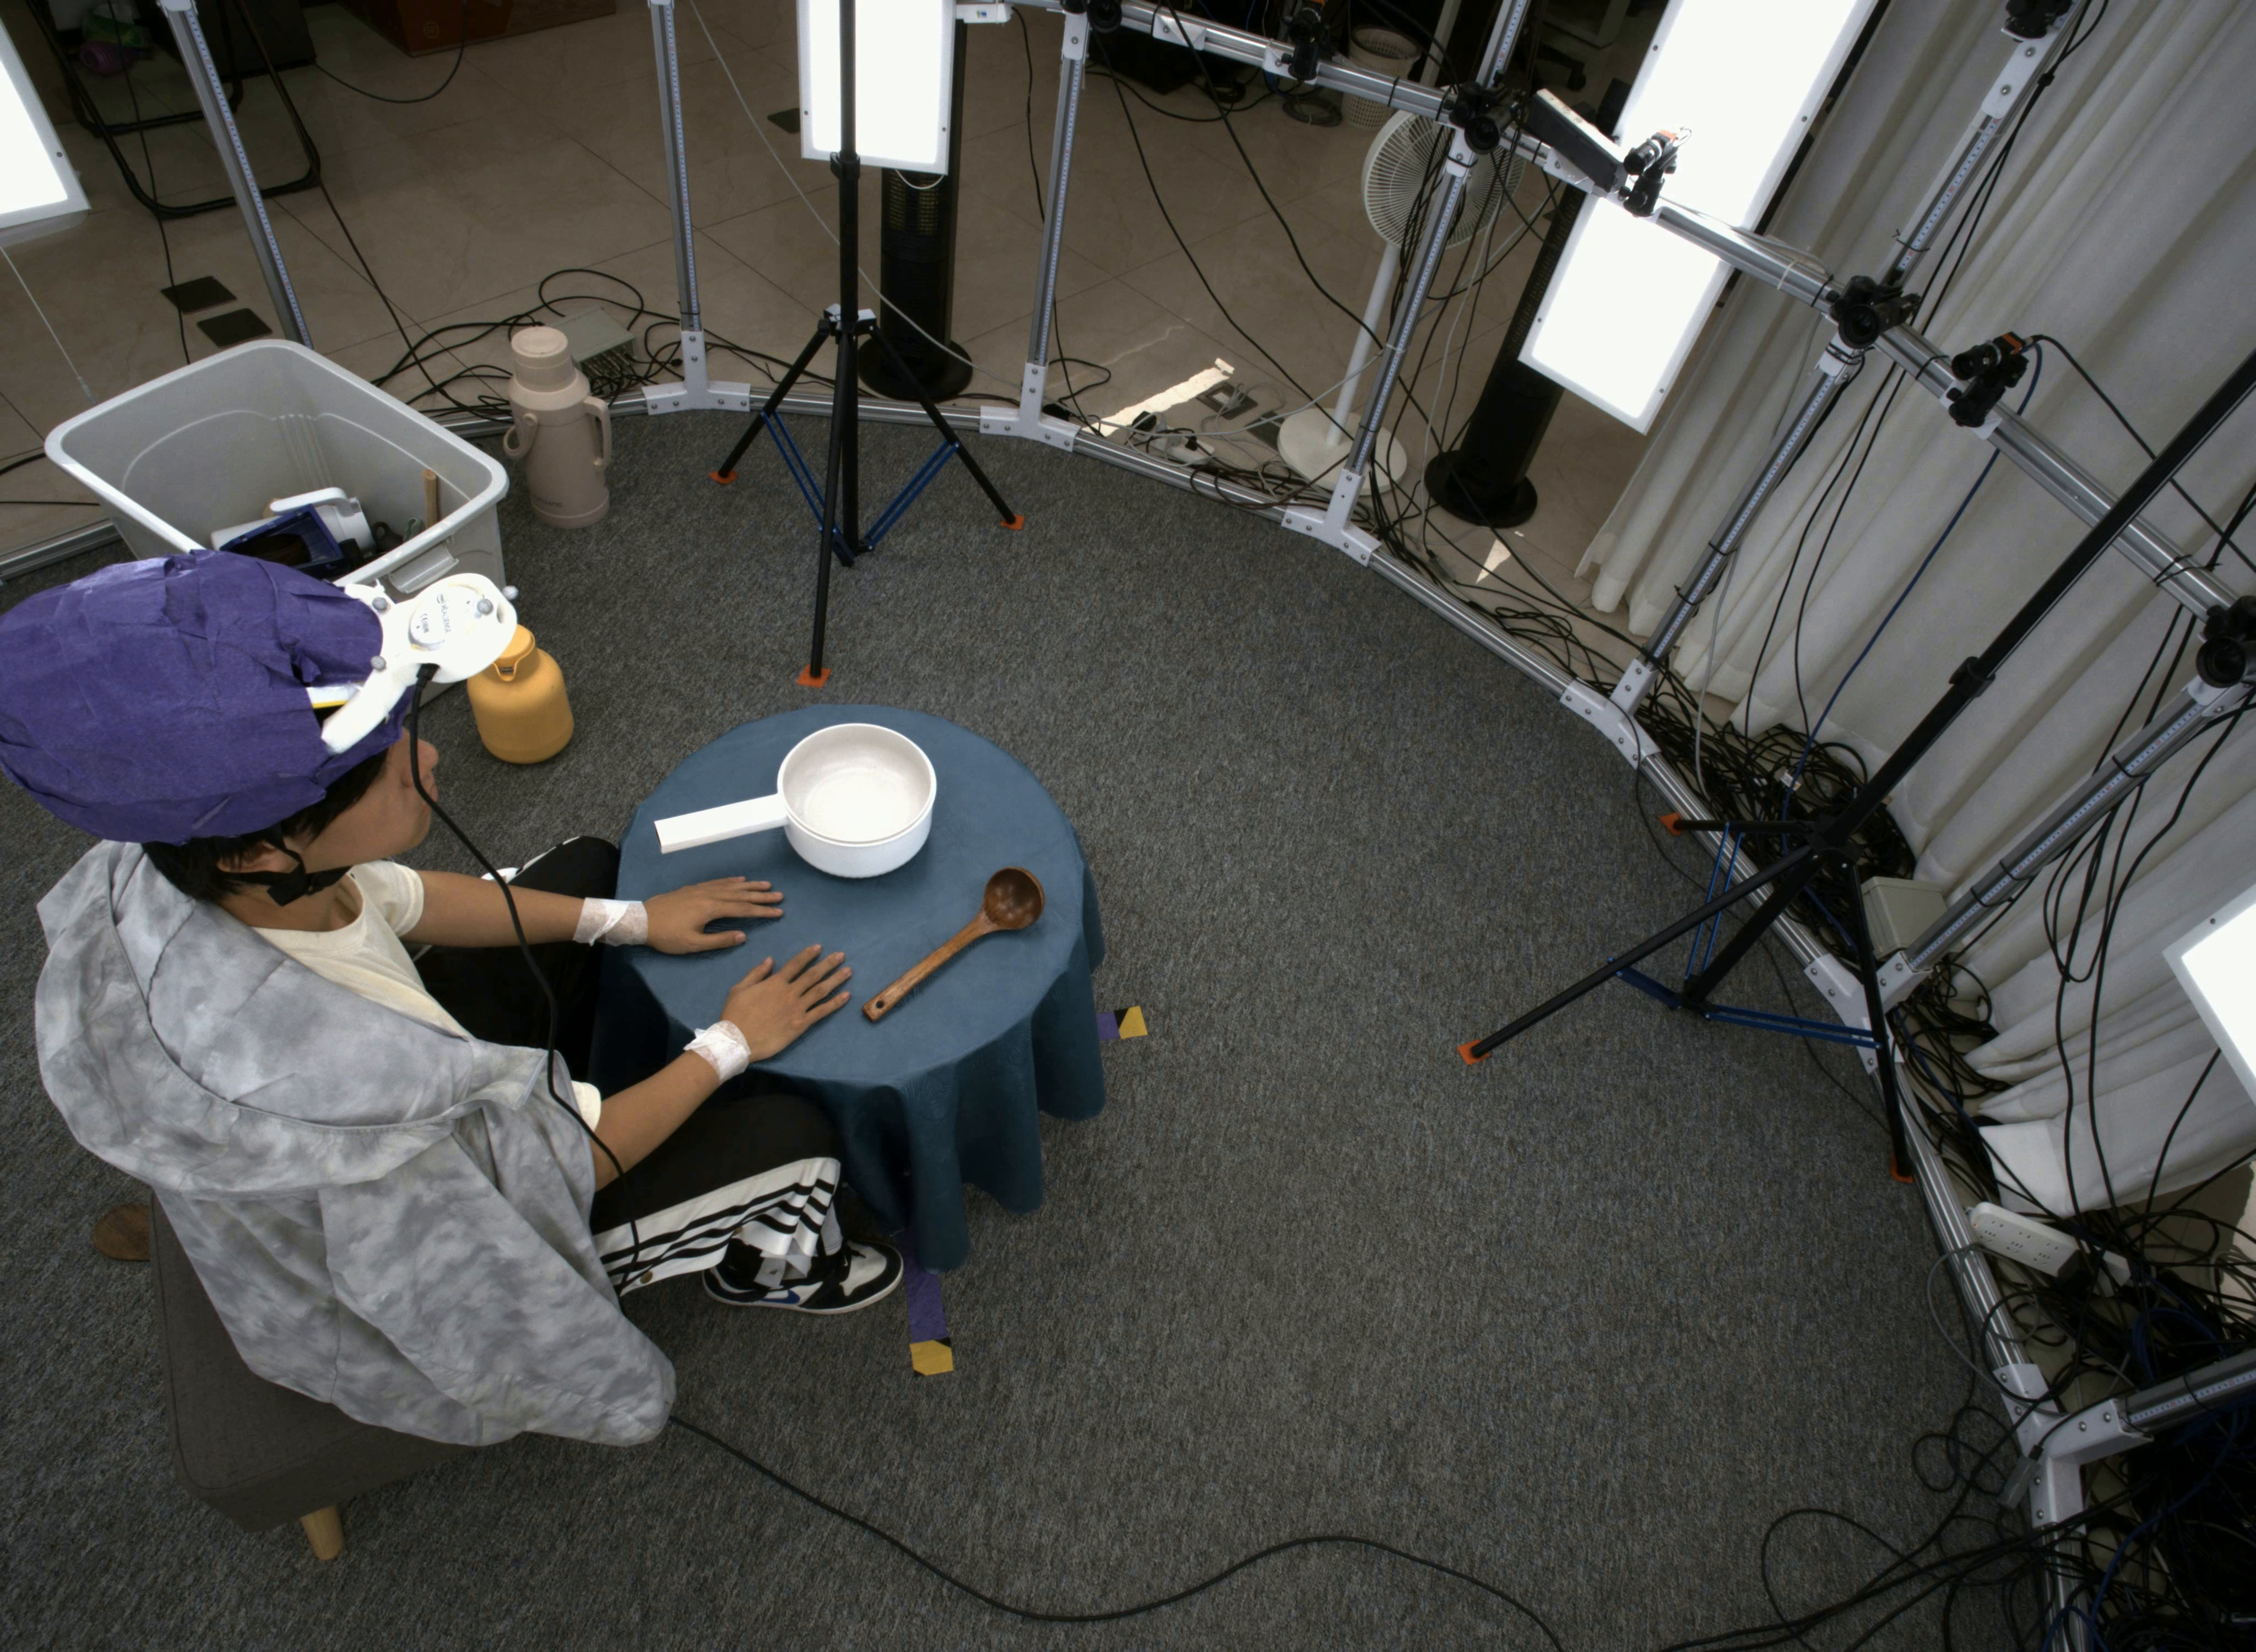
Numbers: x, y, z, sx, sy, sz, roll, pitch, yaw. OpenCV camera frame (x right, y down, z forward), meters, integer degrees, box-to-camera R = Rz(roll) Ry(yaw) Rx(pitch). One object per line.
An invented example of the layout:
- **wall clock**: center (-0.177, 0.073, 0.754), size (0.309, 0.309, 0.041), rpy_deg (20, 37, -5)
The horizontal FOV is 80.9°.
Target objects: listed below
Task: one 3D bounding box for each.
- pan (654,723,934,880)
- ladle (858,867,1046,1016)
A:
- **pan**: center (-0.424, -0.009, 1.671), size (0.356, 0.104, 0.196), rpy_deg (-15, 60, -22)
- **ladle**: center (-0.216, 0.143, 1.620), size (0.275, 0.077, 0.081), rpy_deg (-34, 78, -34)
